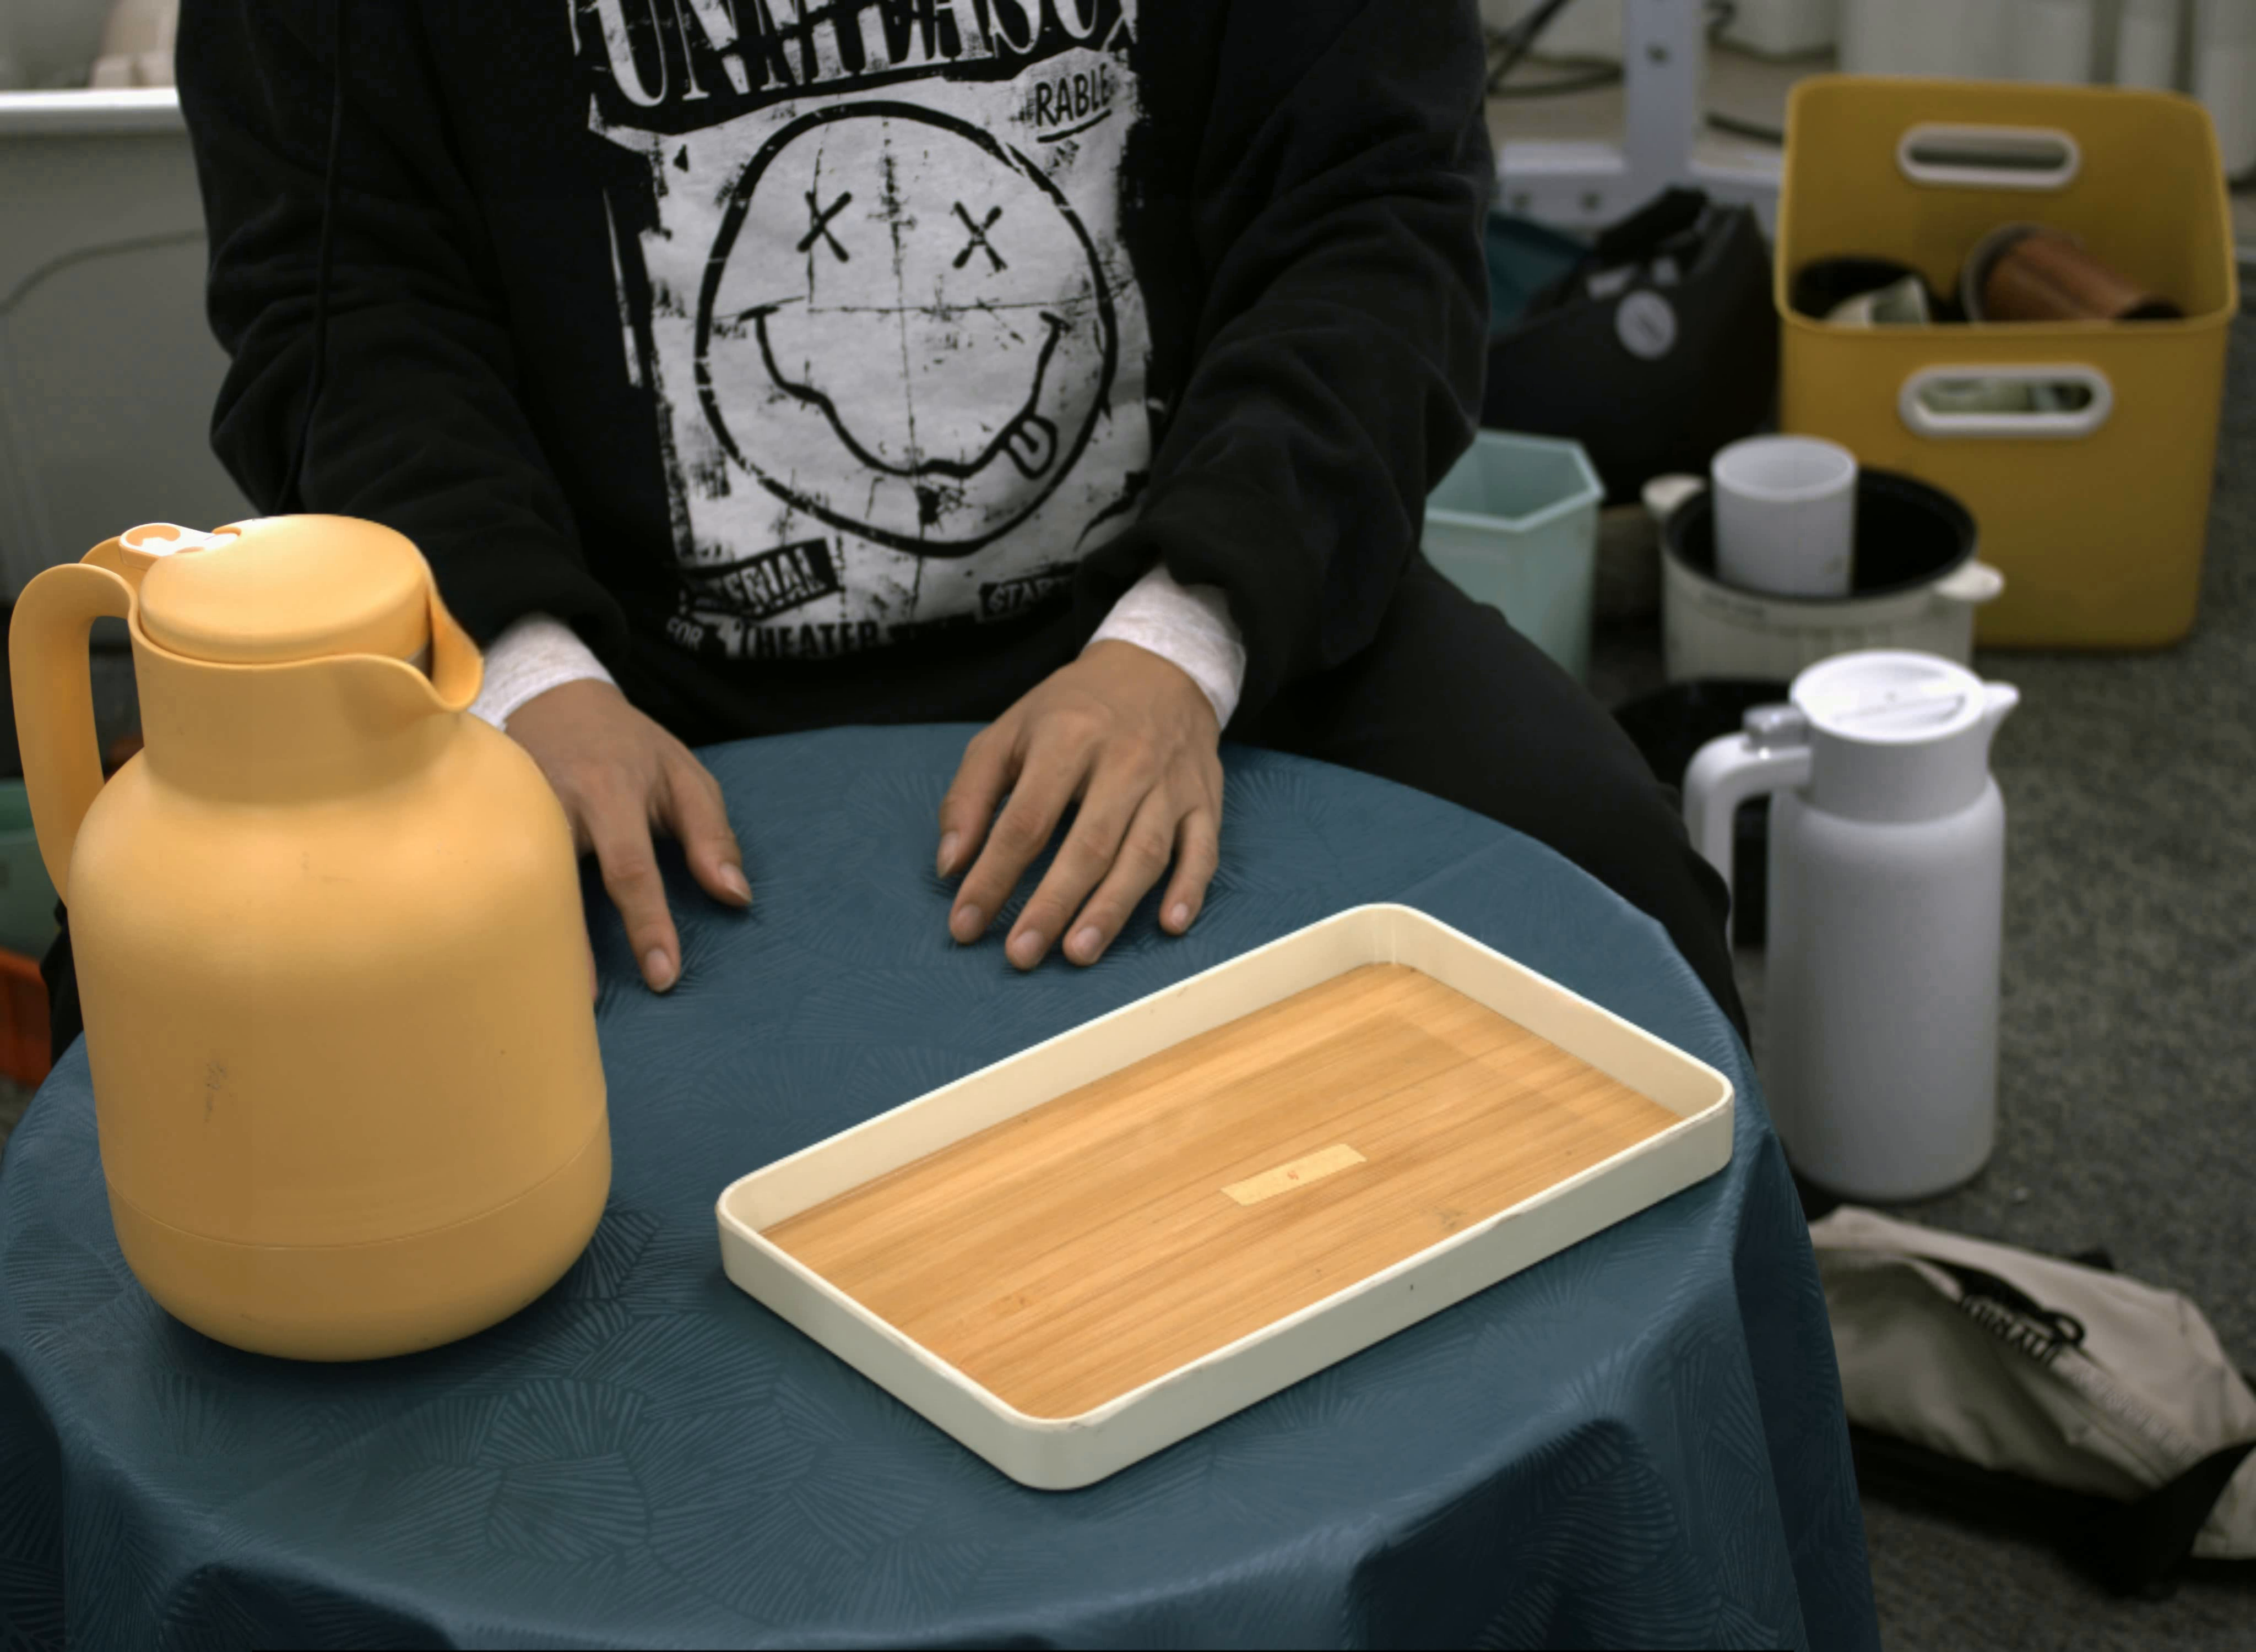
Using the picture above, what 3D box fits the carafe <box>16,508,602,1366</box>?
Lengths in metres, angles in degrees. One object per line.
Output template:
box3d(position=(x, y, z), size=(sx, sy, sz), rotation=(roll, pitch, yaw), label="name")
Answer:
box3d(position=(-0.268, 0.026, 1.793), size=(0.201, 0.258, 0.165), rotation=(18, 31, 35), label="carafe")

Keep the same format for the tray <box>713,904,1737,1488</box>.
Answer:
box3d(position=(0.033, 0.115, 1.839), size=(0.303, 0.027, 0.192), rotation=(-22, 33, -33), label="tray")
